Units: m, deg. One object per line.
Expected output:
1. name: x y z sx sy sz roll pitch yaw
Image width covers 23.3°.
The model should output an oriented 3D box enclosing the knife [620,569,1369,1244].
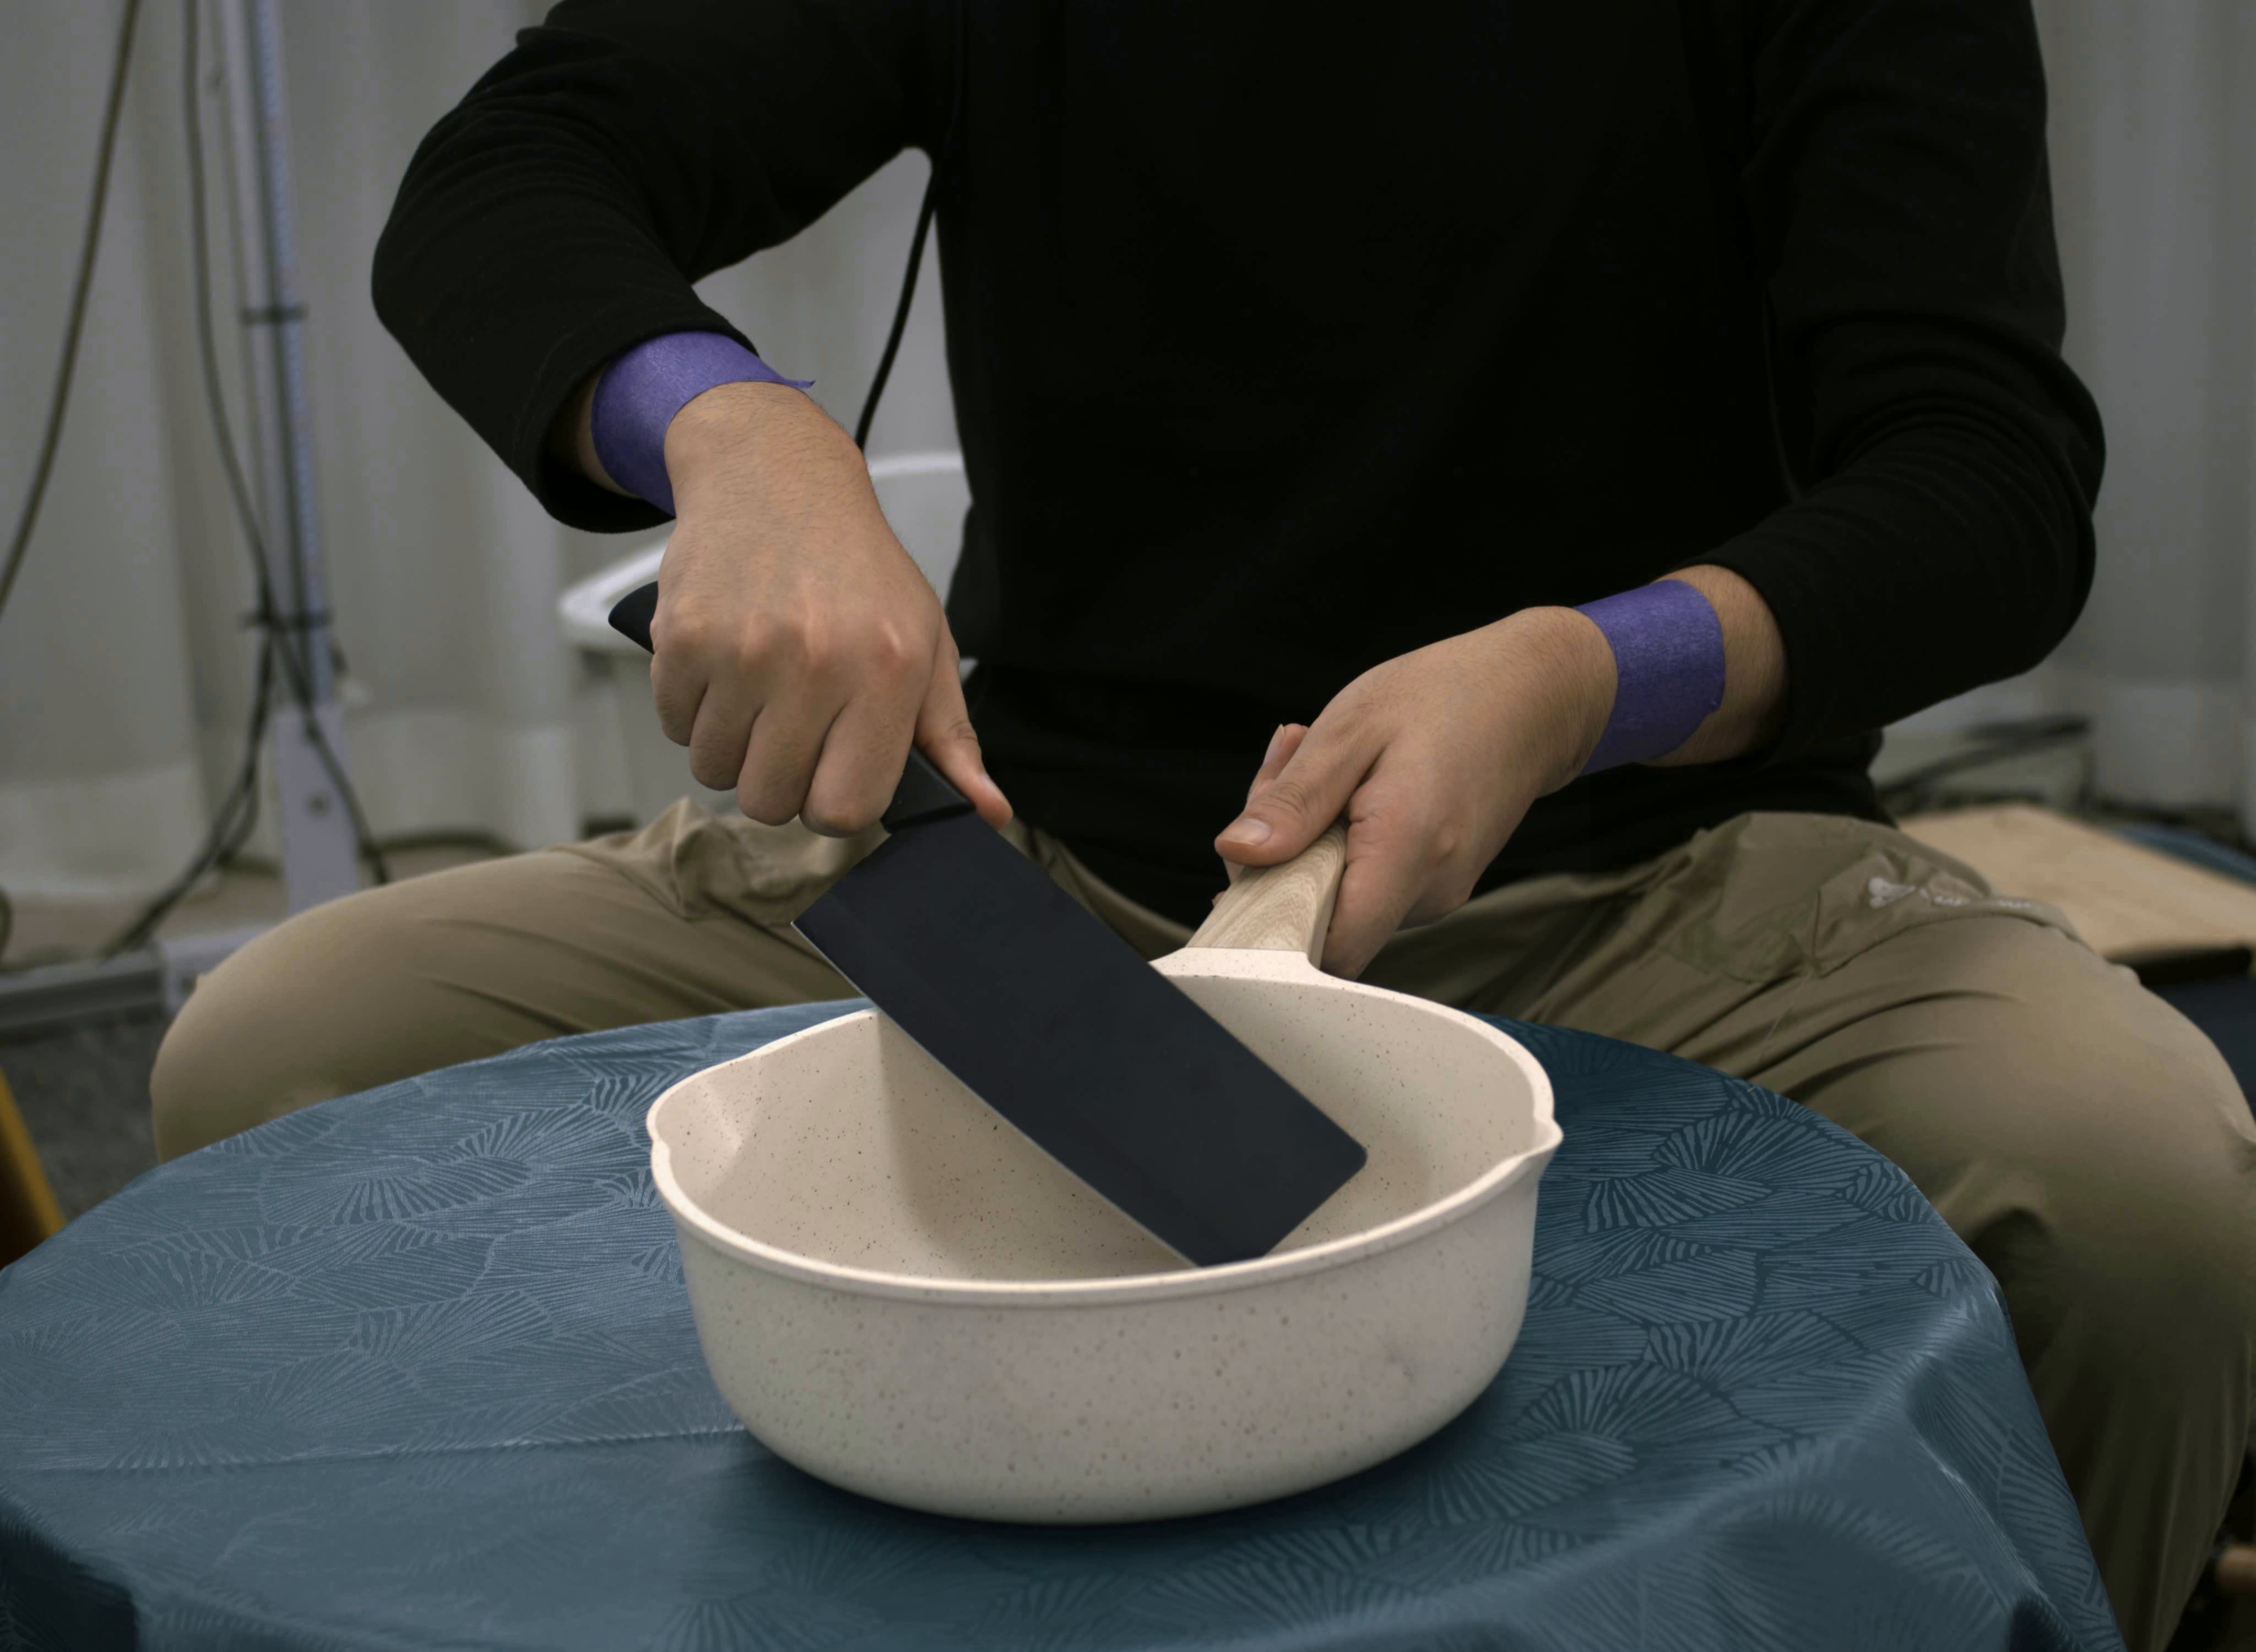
1. knife: -0.051 0.023 1.629 0.081 0.020 0.305 -36 62 -18

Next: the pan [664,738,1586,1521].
1. pan: 0.026 0.084 1.608 0.263 0.101 0.437 0 17 17
